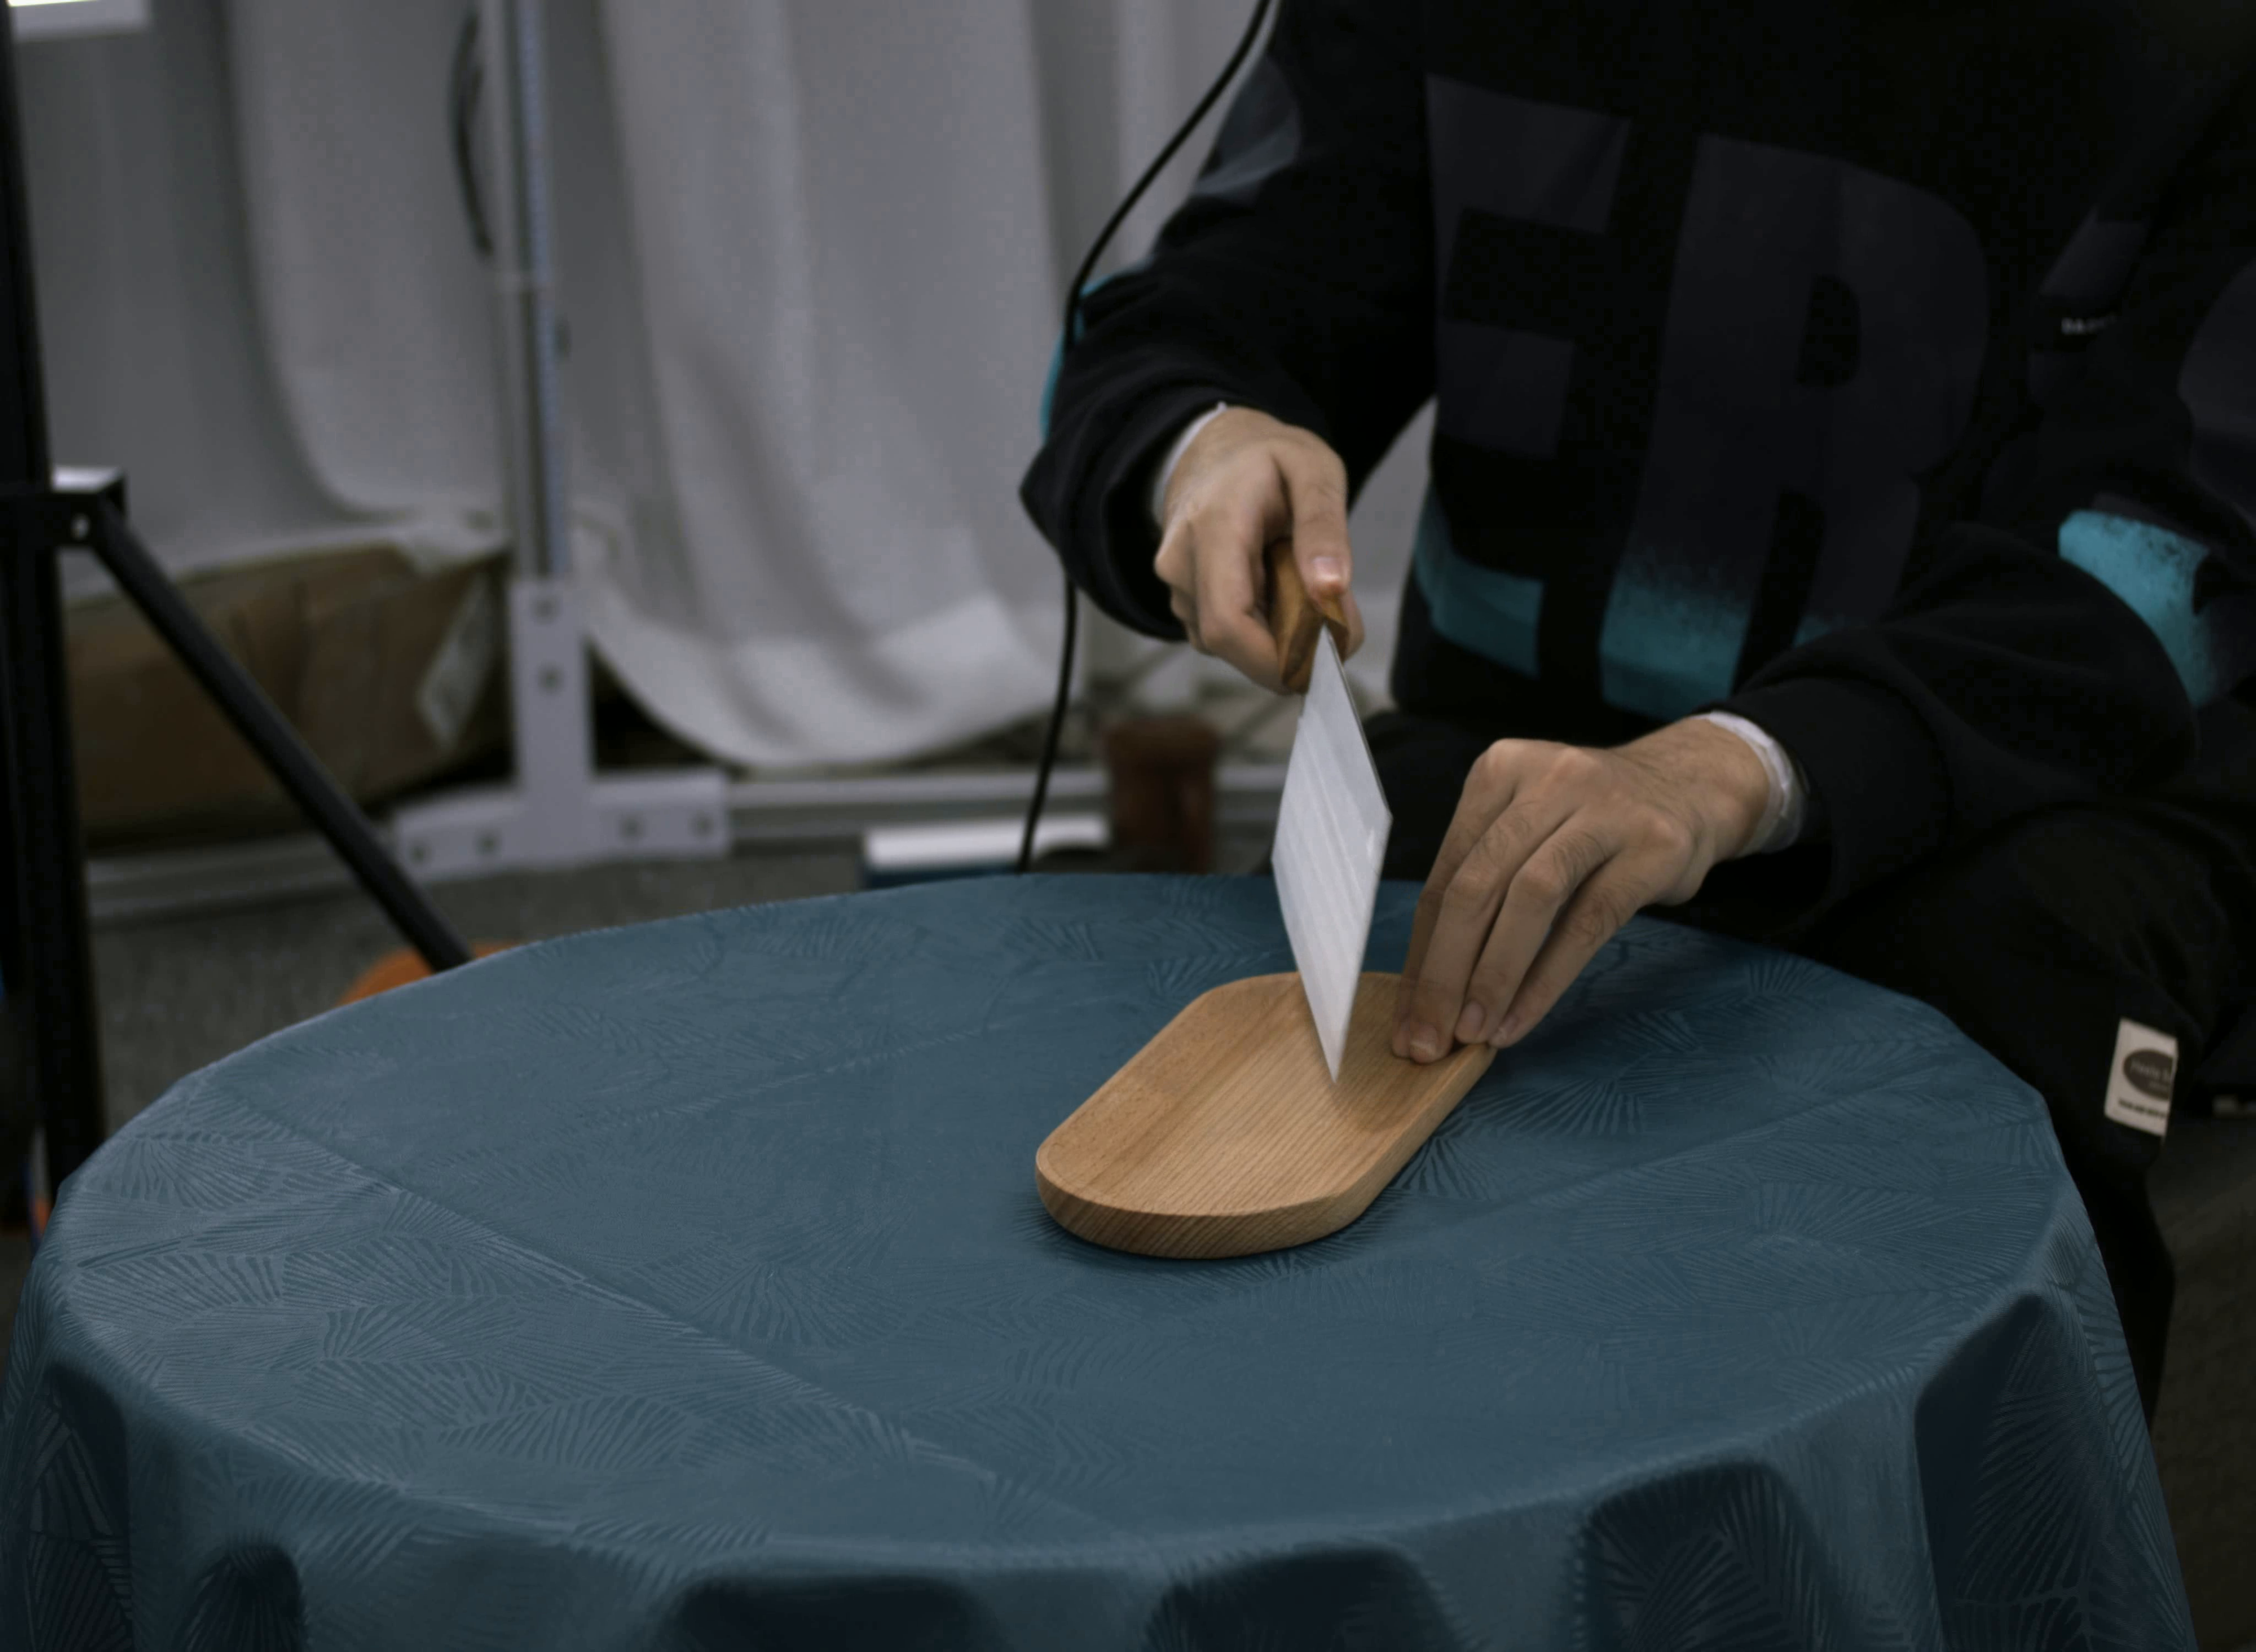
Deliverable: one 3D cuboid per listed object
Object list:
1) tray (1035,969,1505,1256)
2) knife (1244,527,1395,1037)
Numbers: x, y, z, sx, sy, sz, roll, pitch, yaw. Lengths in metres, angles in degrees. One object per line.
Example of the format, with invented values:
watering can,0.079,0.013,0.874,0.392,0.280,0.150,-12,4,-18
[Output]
tray,0.045,0.084,1.602,0.103,0.020,0.228,6,17,20
knife,0.060,-0.015,1.721,0.021,0.093,0.308,8,20,-8
